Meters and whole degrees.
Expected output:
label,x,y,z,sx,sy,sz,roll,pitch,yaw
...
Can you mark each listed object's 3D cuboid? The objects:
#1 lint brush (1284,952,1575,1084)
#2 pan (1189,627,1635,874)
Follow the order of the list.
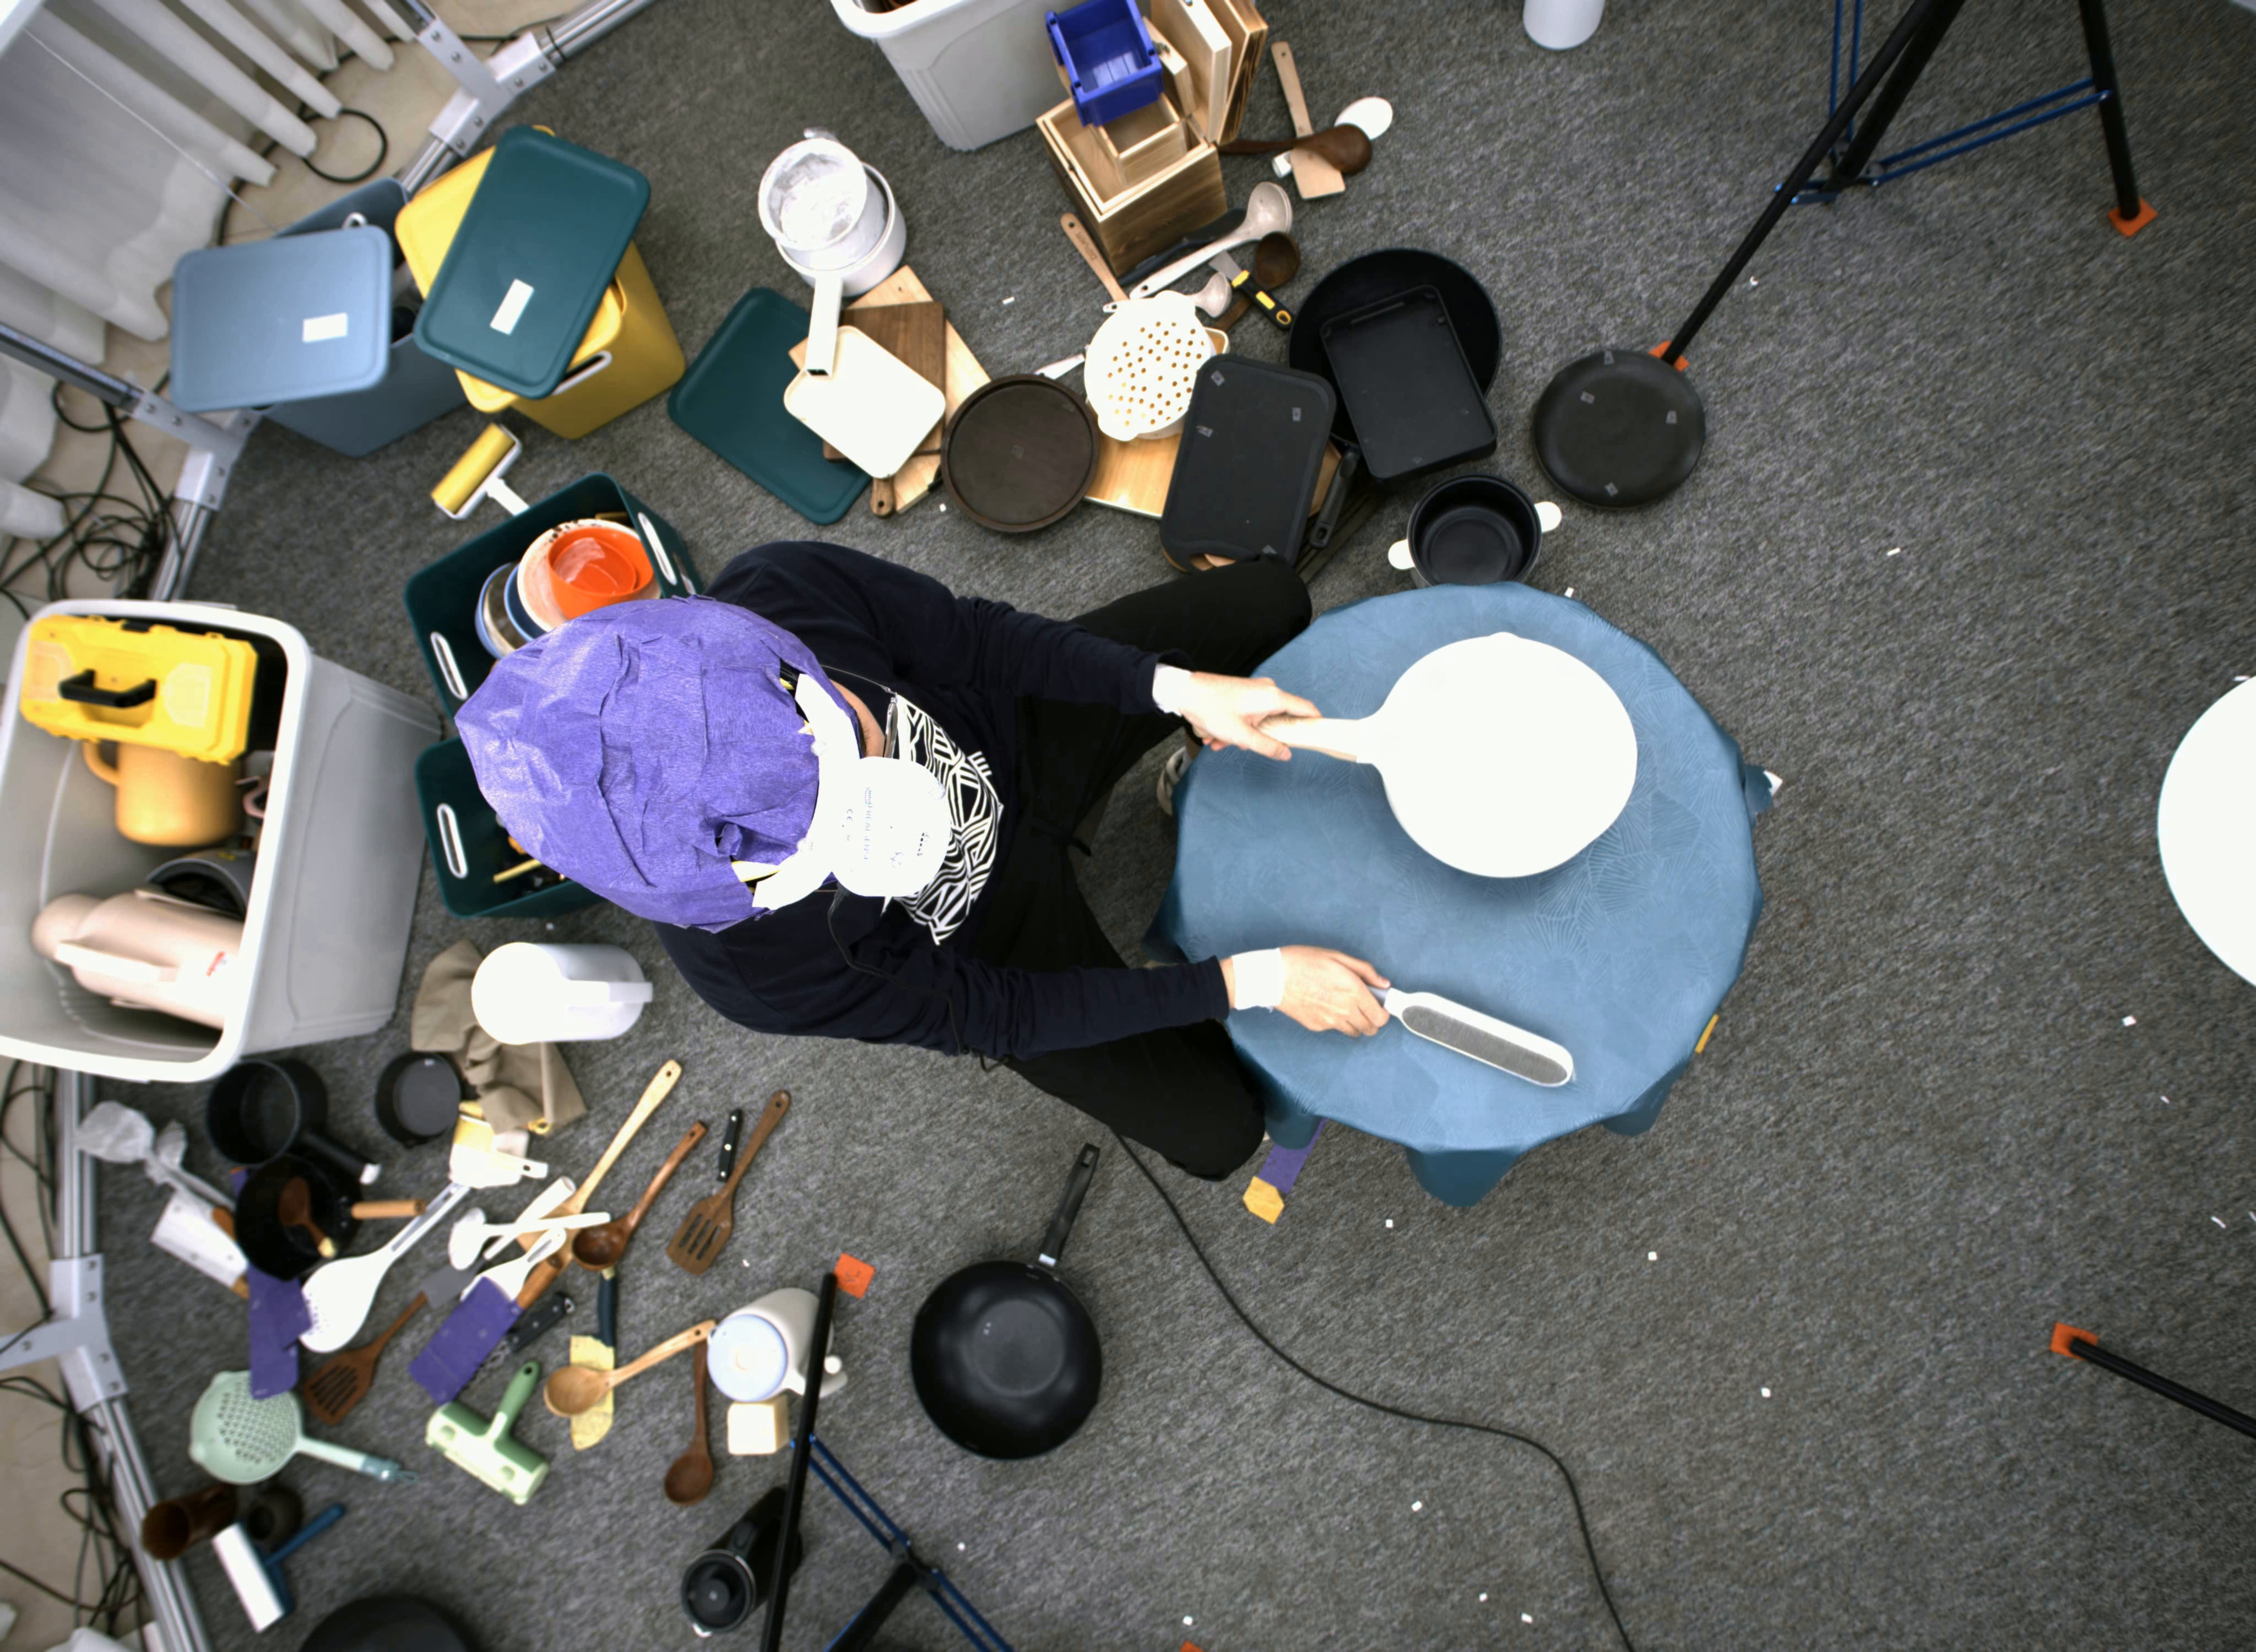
label,x,y,z,sx,sy,sz,roll,pitch,yaw
lint brush,0.305,0.191,1.416,0.309,0.061,0.020,20,50,11
pan,0.281,-0.076,1.386,0.436,0.103,0.259,3,71,7
